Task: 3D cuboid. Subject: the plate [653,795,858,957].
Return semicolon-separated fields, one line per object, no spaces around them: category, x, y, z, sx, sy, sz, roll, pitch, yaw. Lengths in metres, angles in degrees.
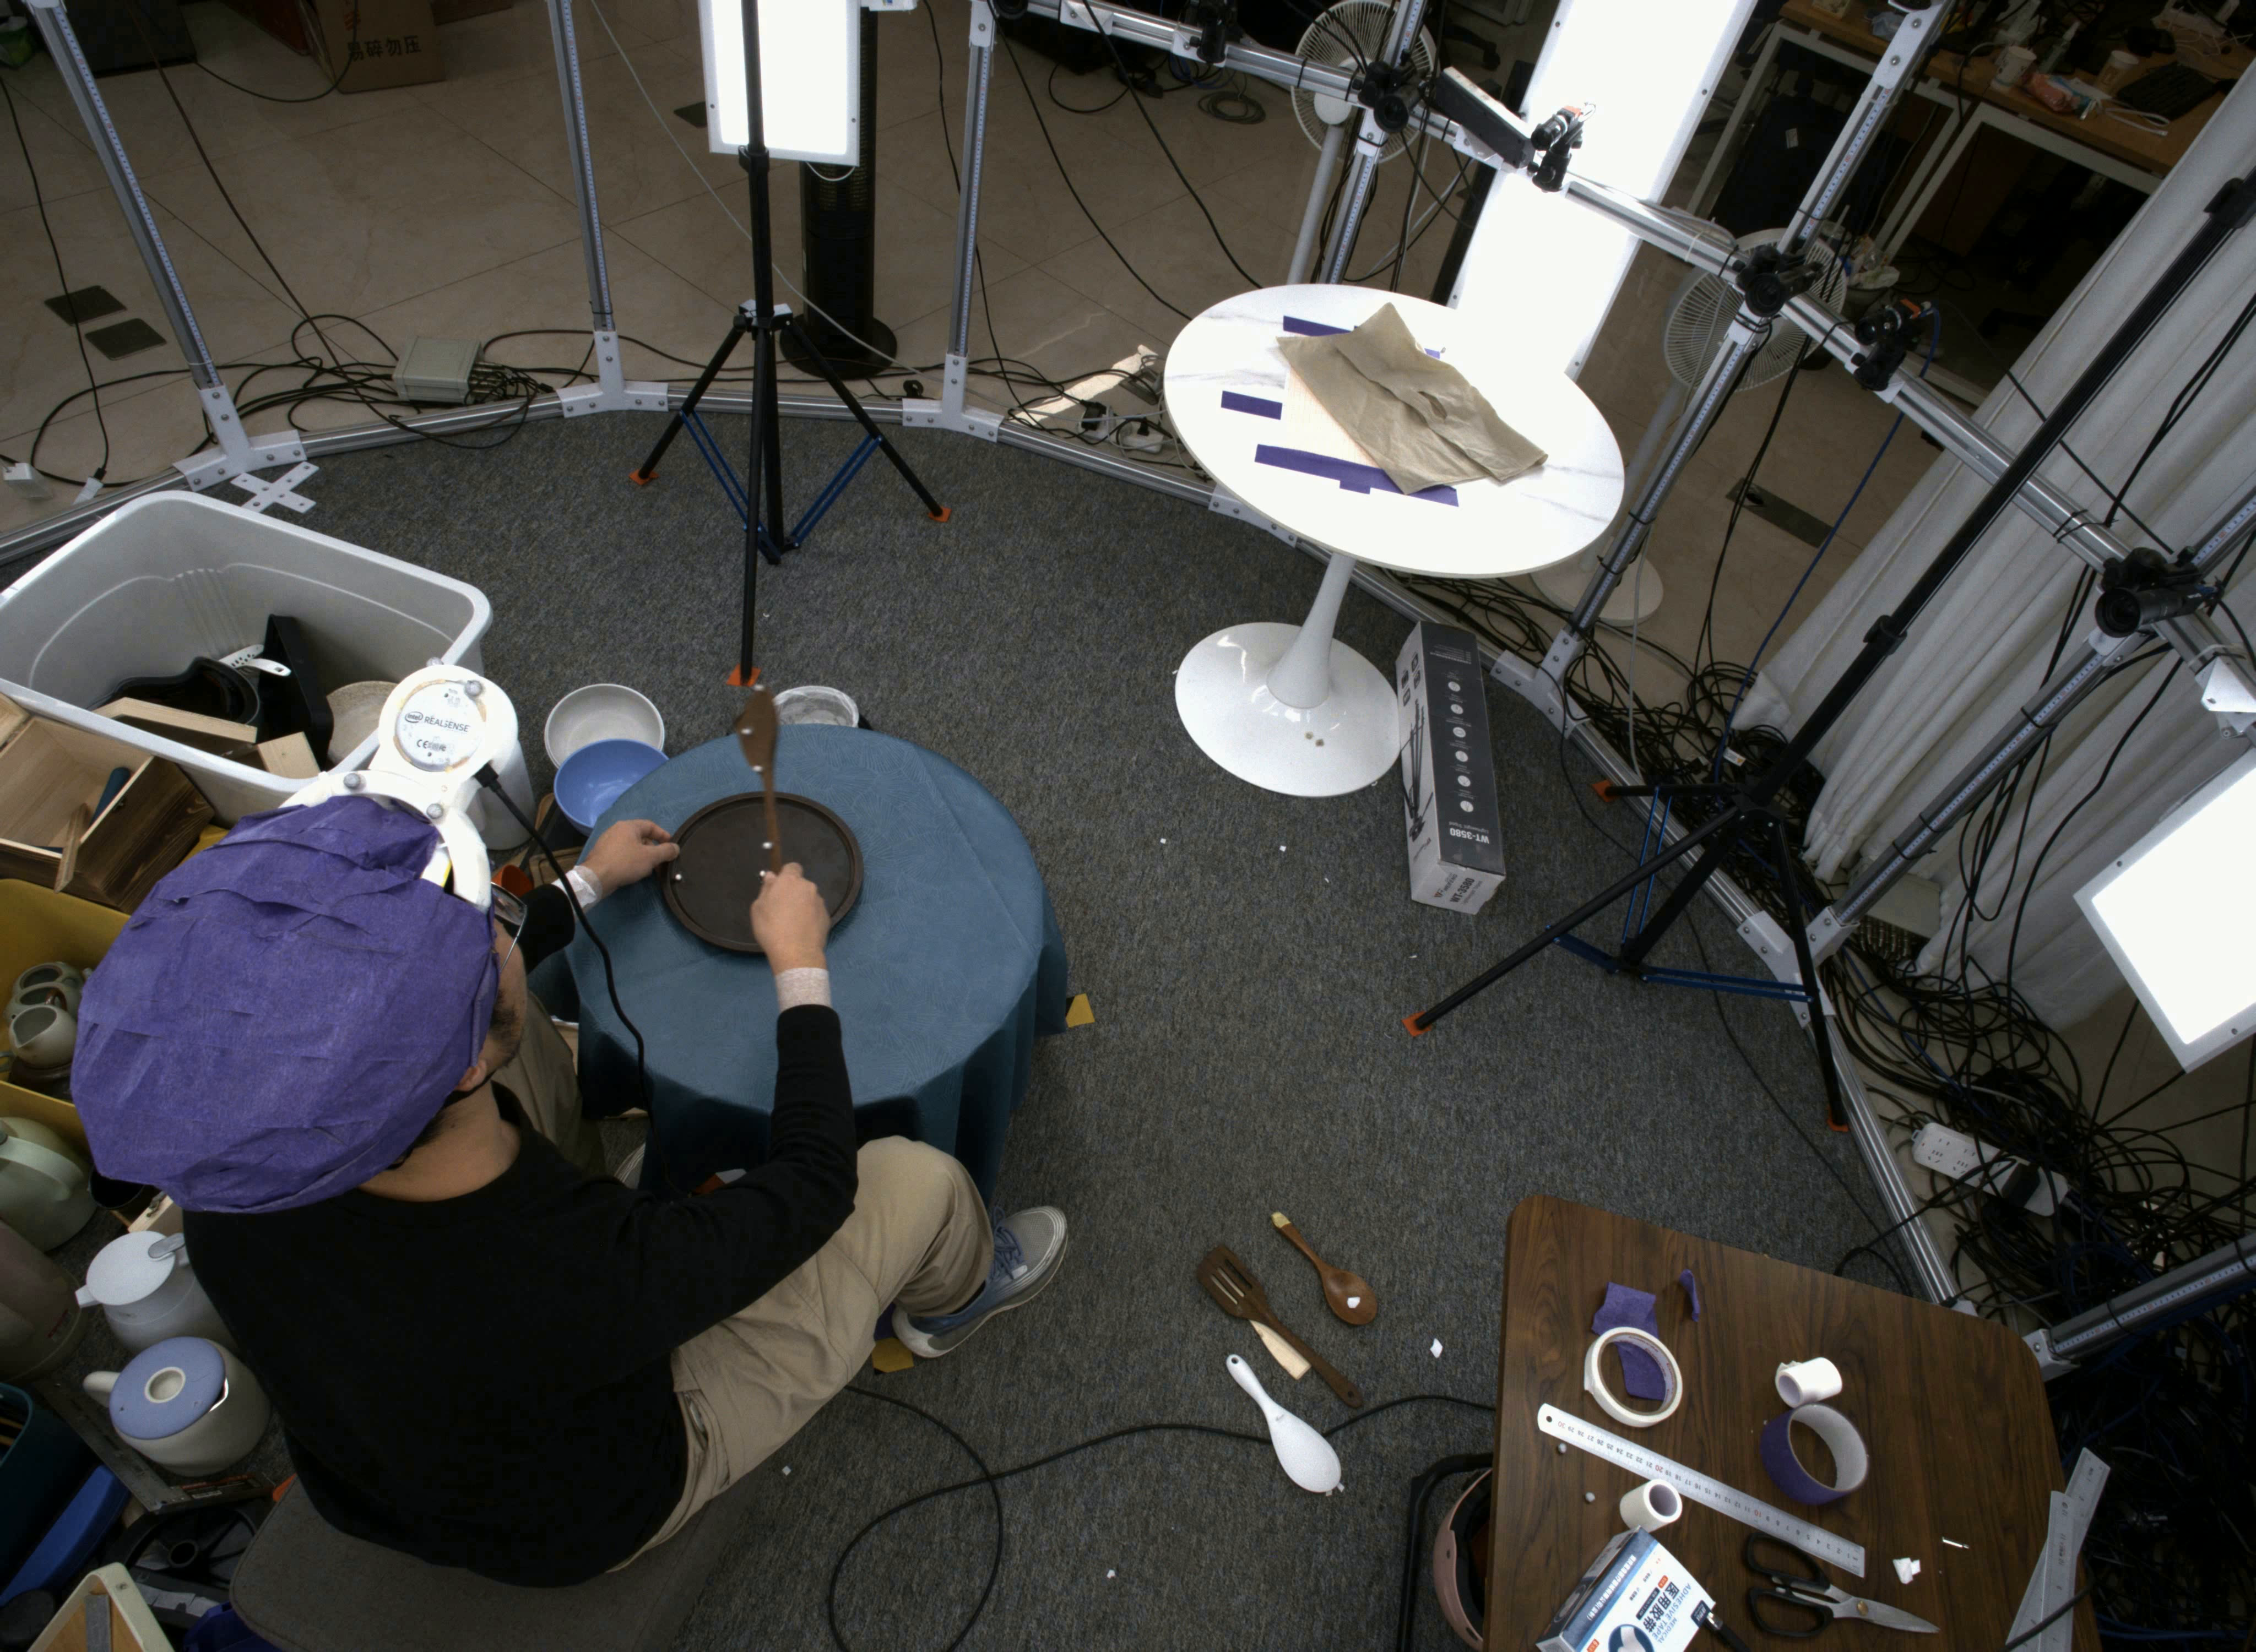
plate;-0.472;0.060;1.647;0.254;0.029;0.250;9;51;-10

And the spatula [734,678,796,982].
spatula;-0.409;0.001;1.468;0.016;0.096;0.378;7;54;-37
